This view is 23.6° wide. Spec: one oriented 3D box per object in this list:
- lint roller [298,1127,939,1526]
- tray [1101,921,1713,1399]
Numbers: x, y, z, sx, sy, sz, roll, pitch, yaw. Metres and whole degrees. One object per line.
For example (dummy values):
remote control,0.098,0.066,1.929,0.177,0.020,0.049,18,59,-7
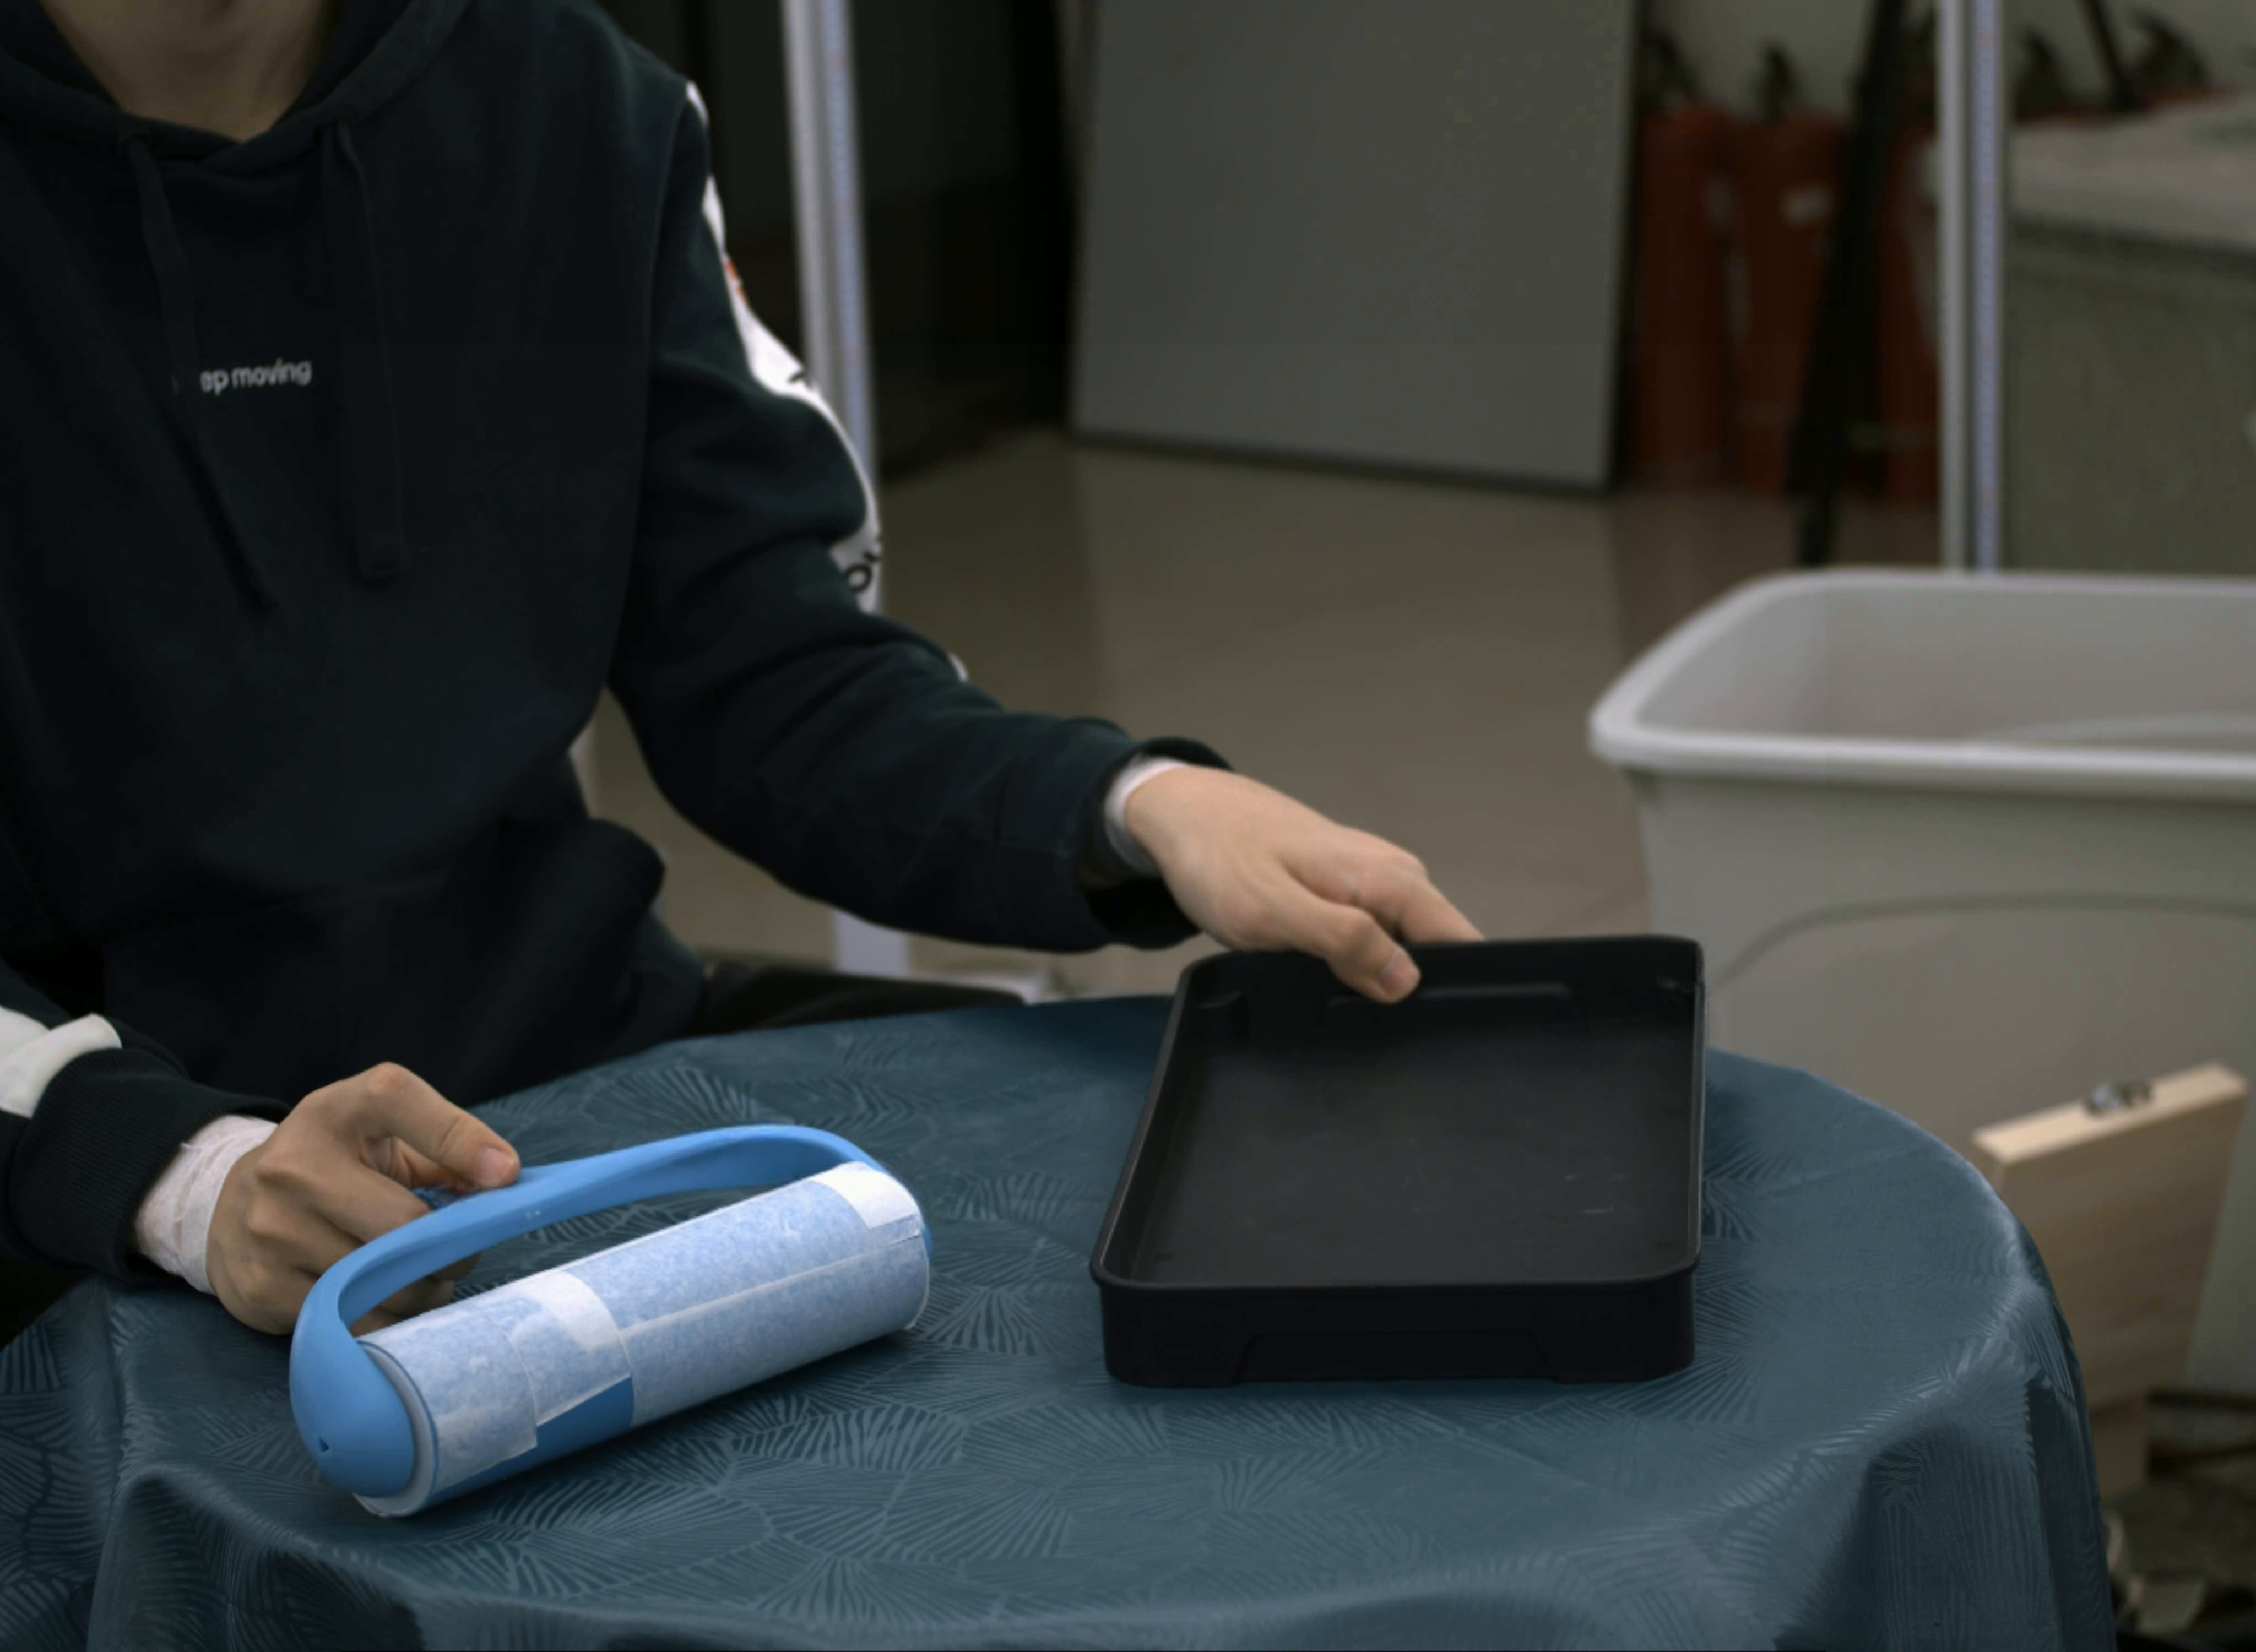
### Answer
lint roller,-0.186,0.138,1.625,0.182,0.068,0.224,14,24,41
tray,0.095,0.102,1.723,0.182,0.037,0.317,-3,18,7
